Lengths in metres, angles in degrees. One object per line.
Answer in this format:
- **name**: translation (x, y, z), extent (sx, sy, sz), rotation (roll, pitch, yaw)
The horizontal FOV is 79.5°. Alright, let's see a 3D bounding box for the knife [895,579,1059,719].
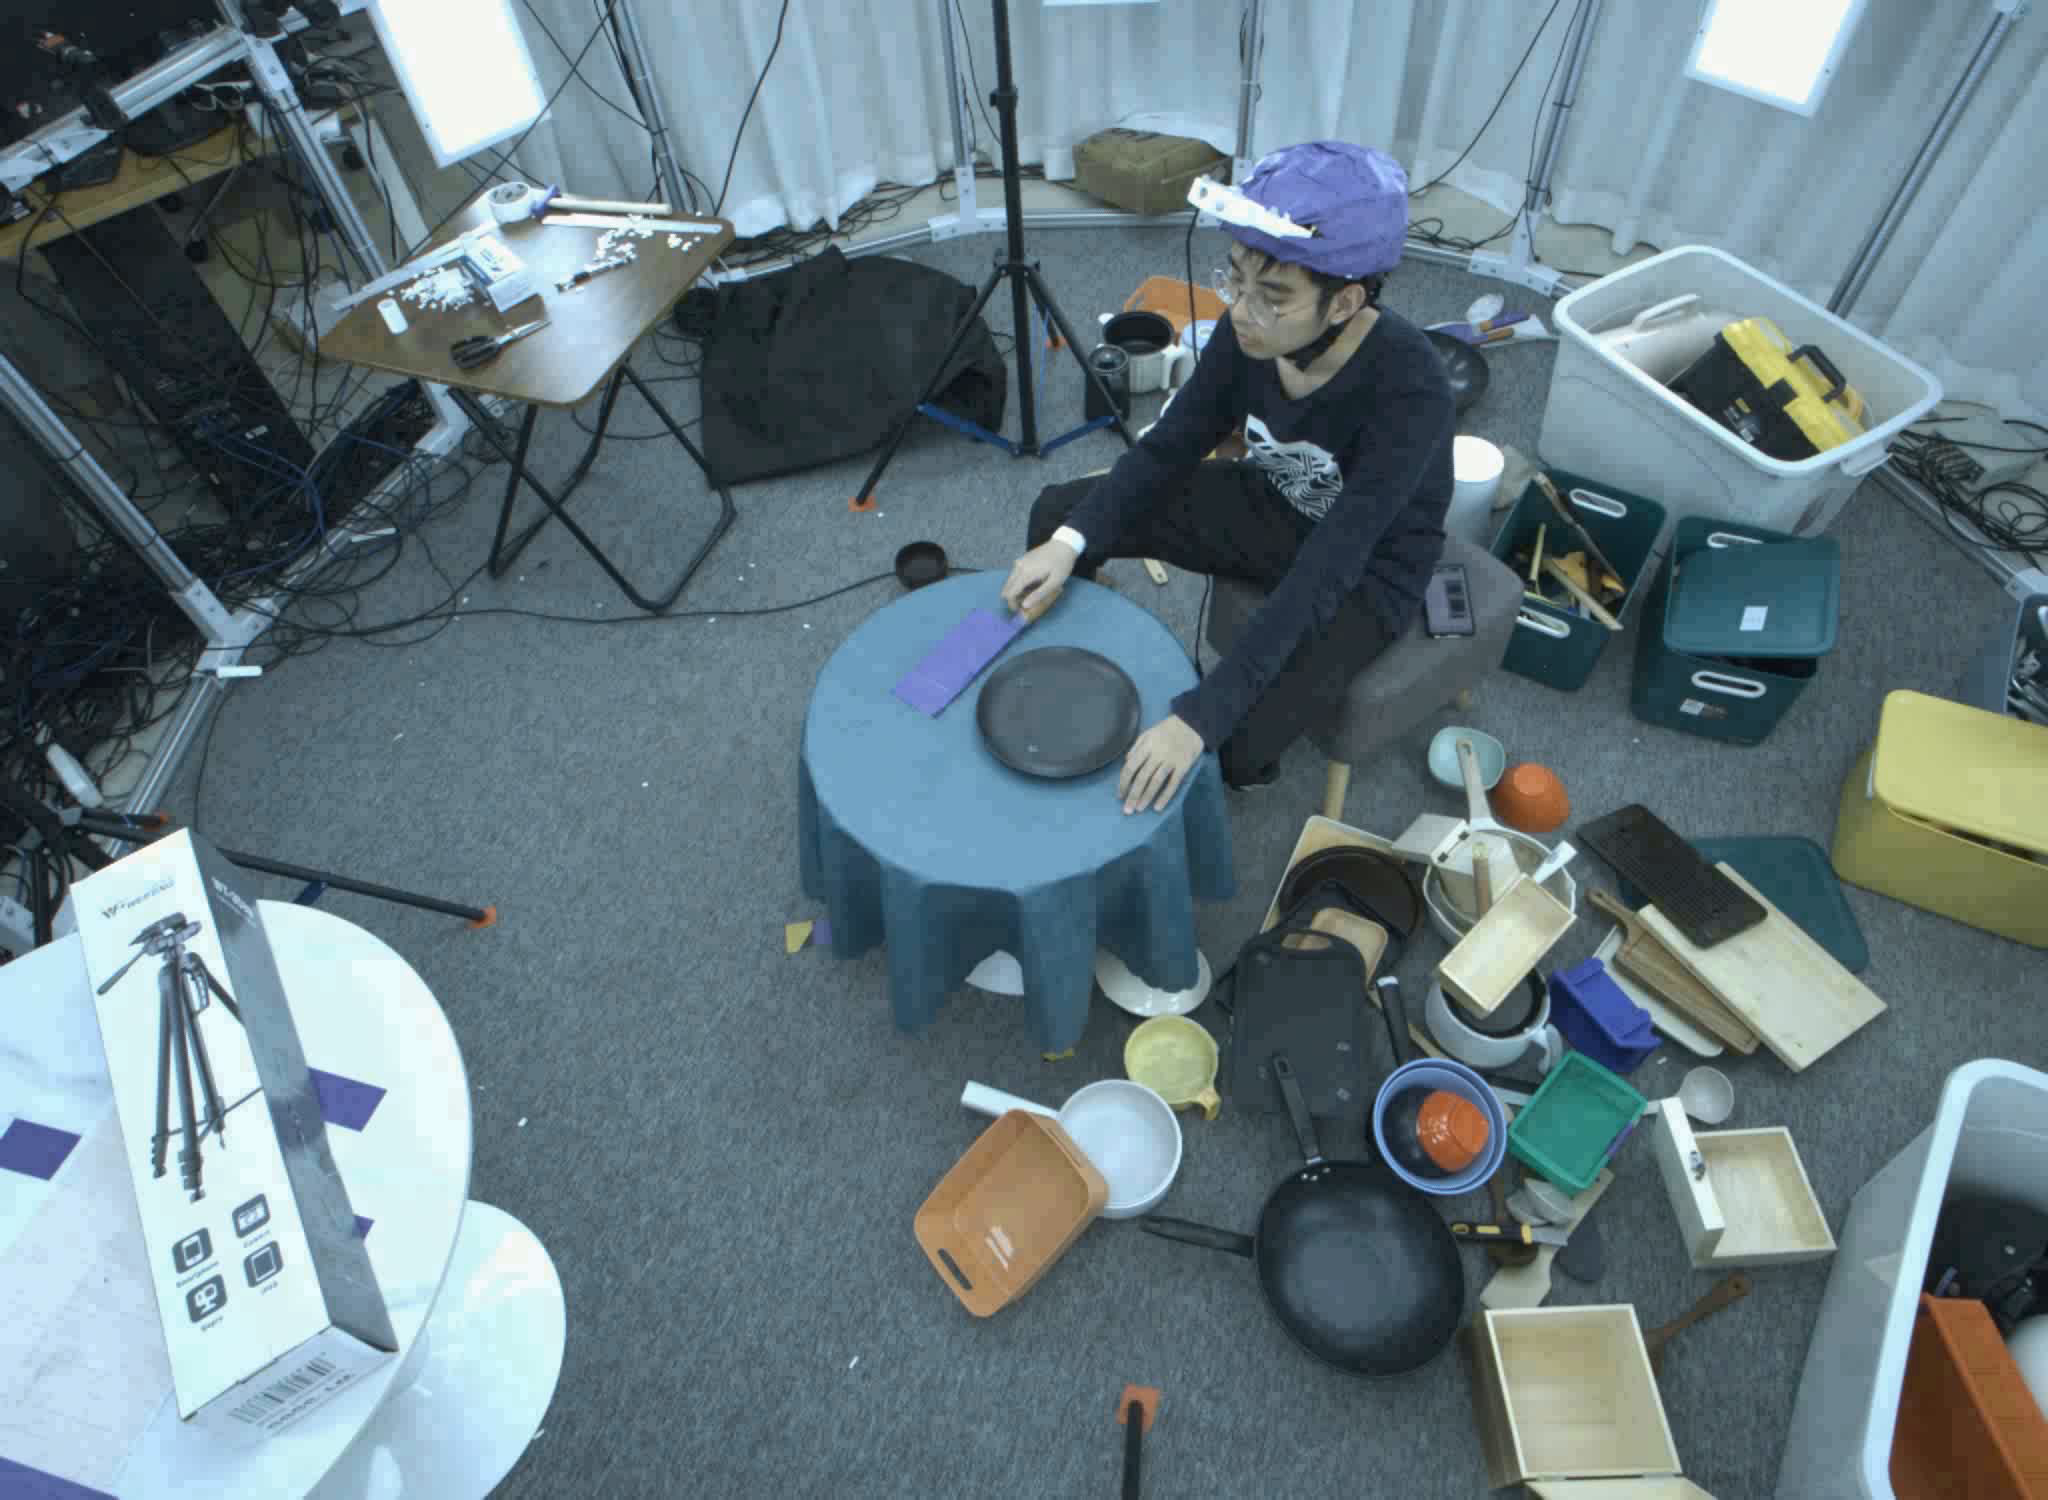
- **knife**: translation (-0.074, -0.175, 1.905), extent (0.102, 0.032, 0.317), rotation (32, 61, 22)

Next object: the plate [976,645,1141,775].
- **plate**: translation (0.050, -0.058, 1.821), extent (0.244, 0.023, 0.242), rotation (0, 54, 1)
